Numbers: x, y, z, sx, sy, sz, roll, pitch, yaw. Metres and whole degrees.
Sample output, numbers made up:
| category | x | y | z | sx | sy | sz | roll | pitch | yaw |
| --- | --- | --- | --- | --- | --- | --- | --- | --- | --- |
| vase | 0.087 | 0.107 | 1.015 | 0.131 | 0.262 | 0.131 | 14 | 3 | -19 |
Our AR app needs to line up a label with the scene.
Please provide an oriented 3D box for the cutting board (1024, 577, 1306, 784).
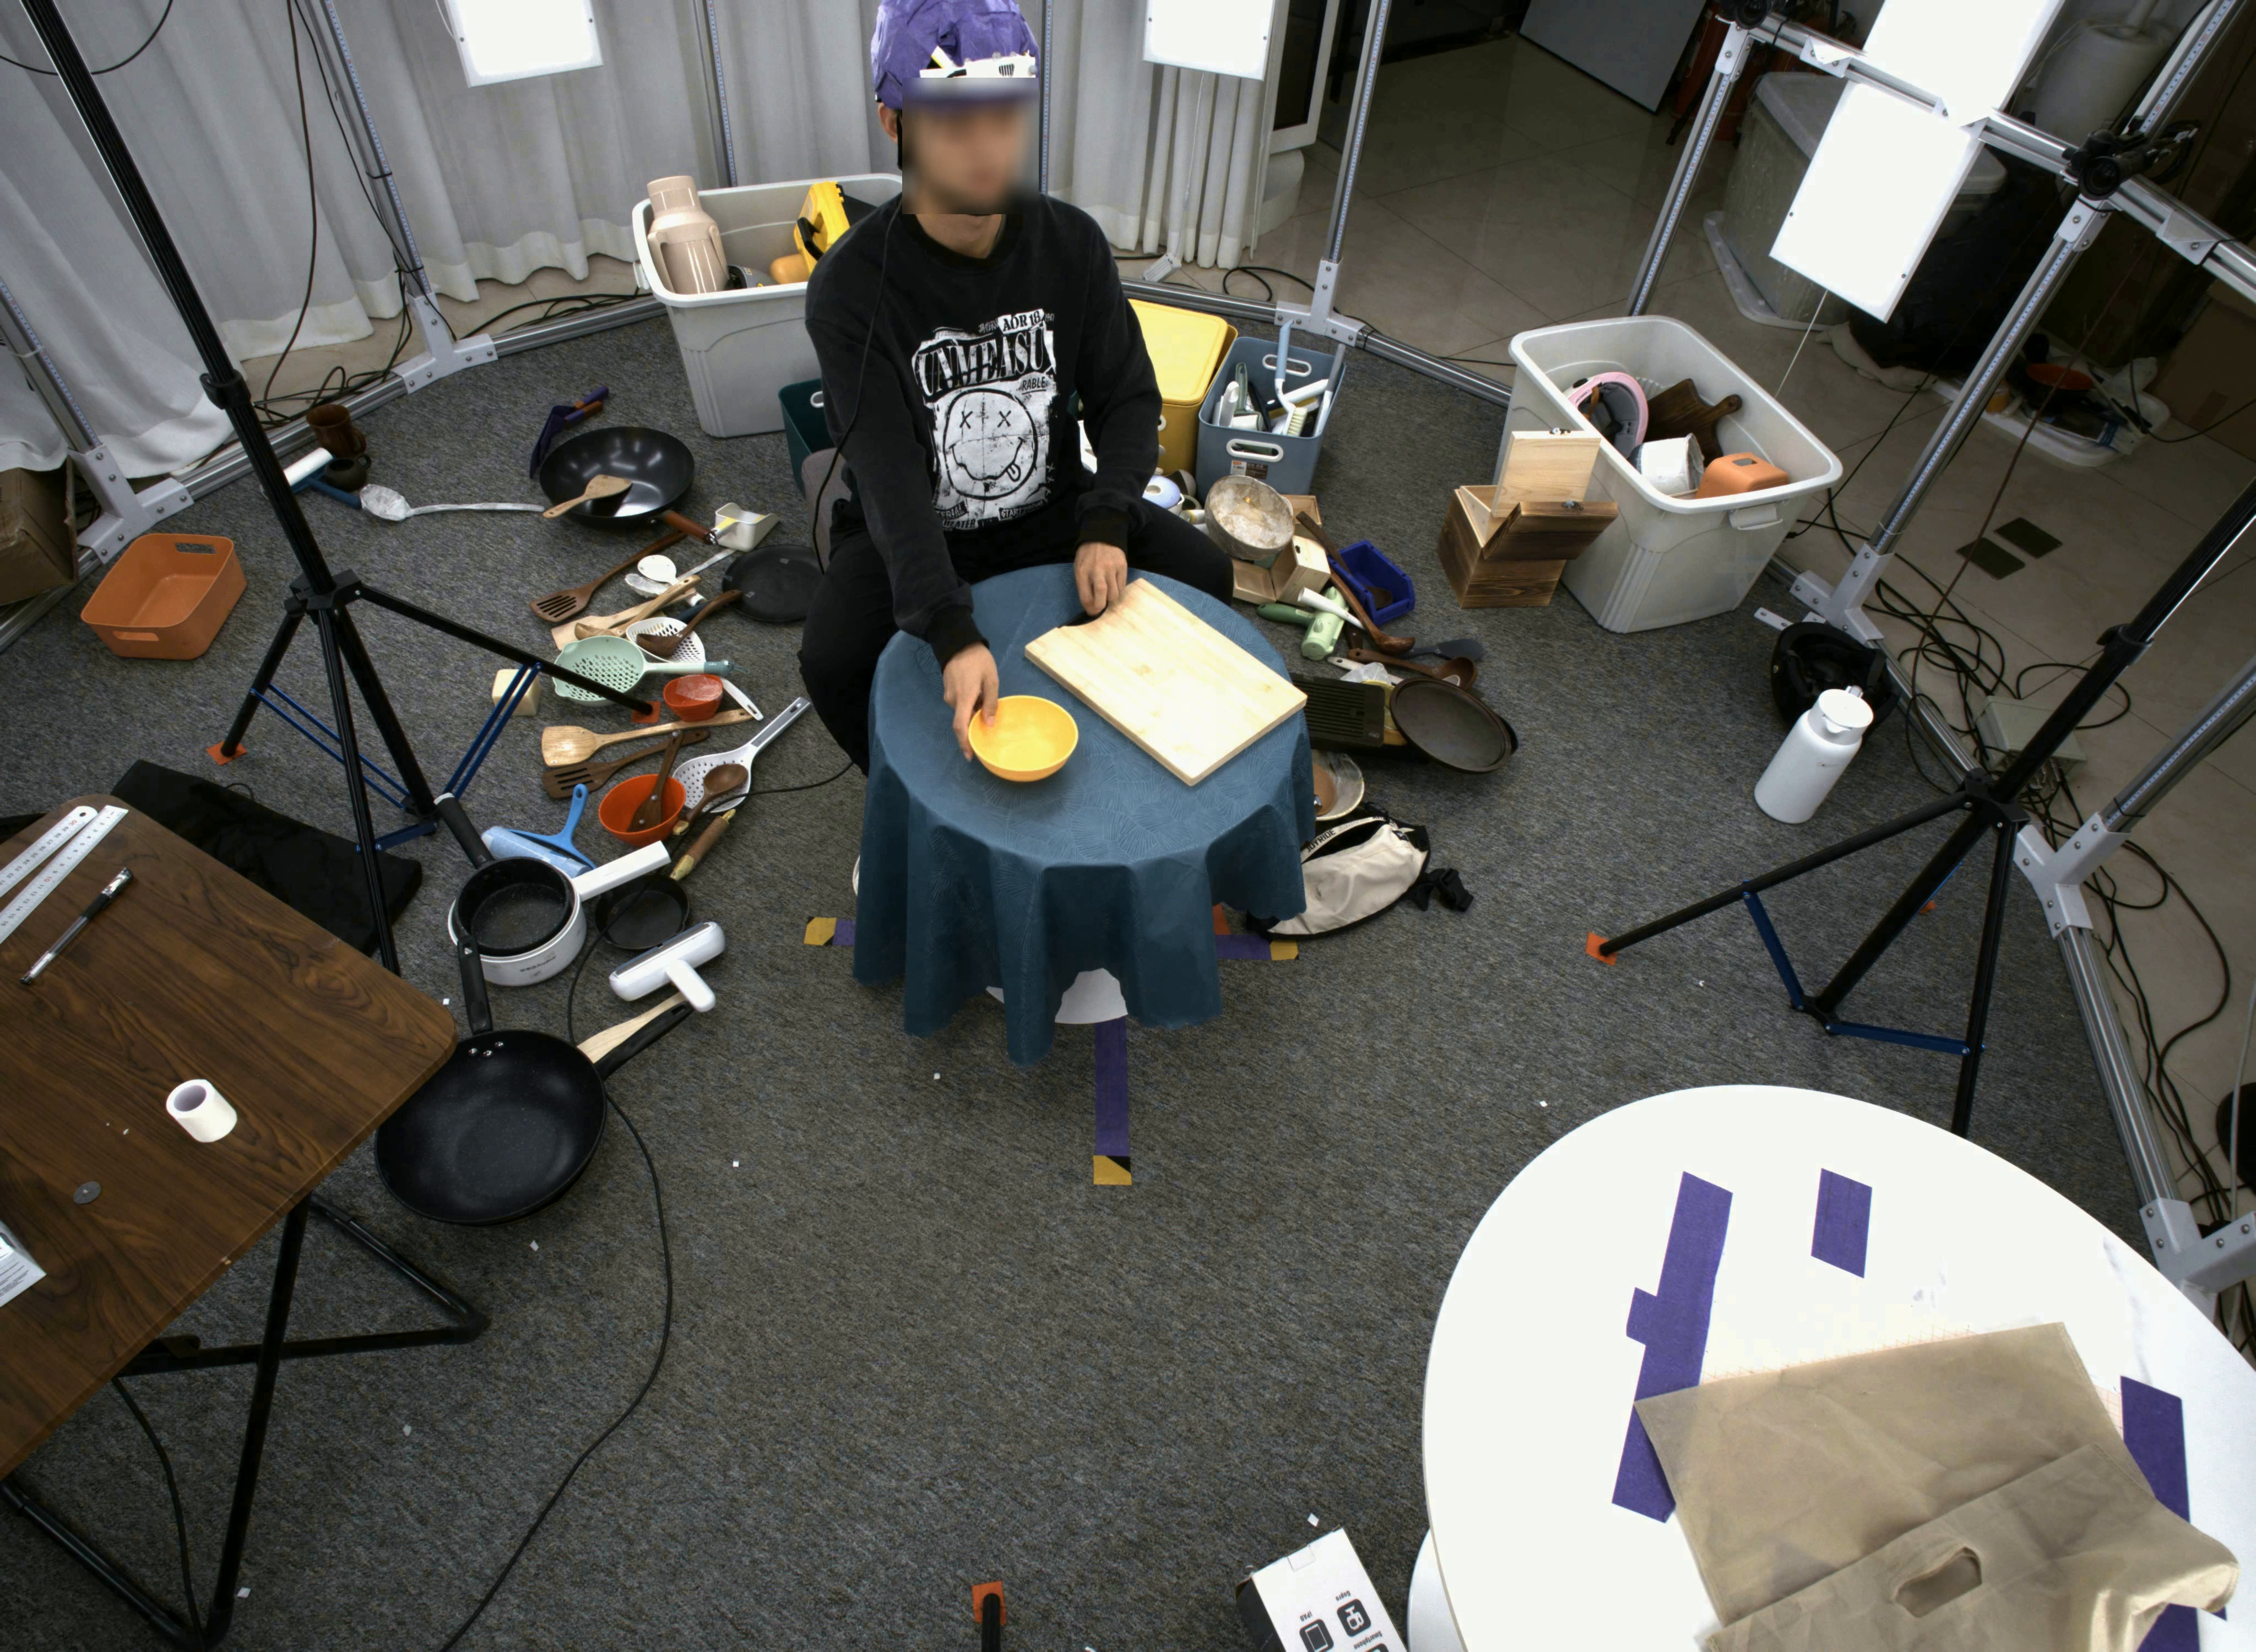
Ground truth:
| category | x | y | z | sx | sy | sz | roll | pitch | yaw |
| --- | --- | --- | --- | --- | --- | --- | --- | --- | --- |
| cutting board | 0.051 | -0.220 | 1.869 | 0.253 | 0.023 | 0.354 | -35 | 60 | -30 |

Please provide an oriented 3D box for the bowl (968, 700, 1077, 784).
| category | x | y | z | sx | sy | sz | roll | pitch | yaw |
| --- | --- | --- | --- | --- | --- | --- | --- | --- | --- |
| bowl | -0.142 | -0.102 | 1.725 | 0.145 | 0.058 | 0.149 | 3 | 45 | -3 |
